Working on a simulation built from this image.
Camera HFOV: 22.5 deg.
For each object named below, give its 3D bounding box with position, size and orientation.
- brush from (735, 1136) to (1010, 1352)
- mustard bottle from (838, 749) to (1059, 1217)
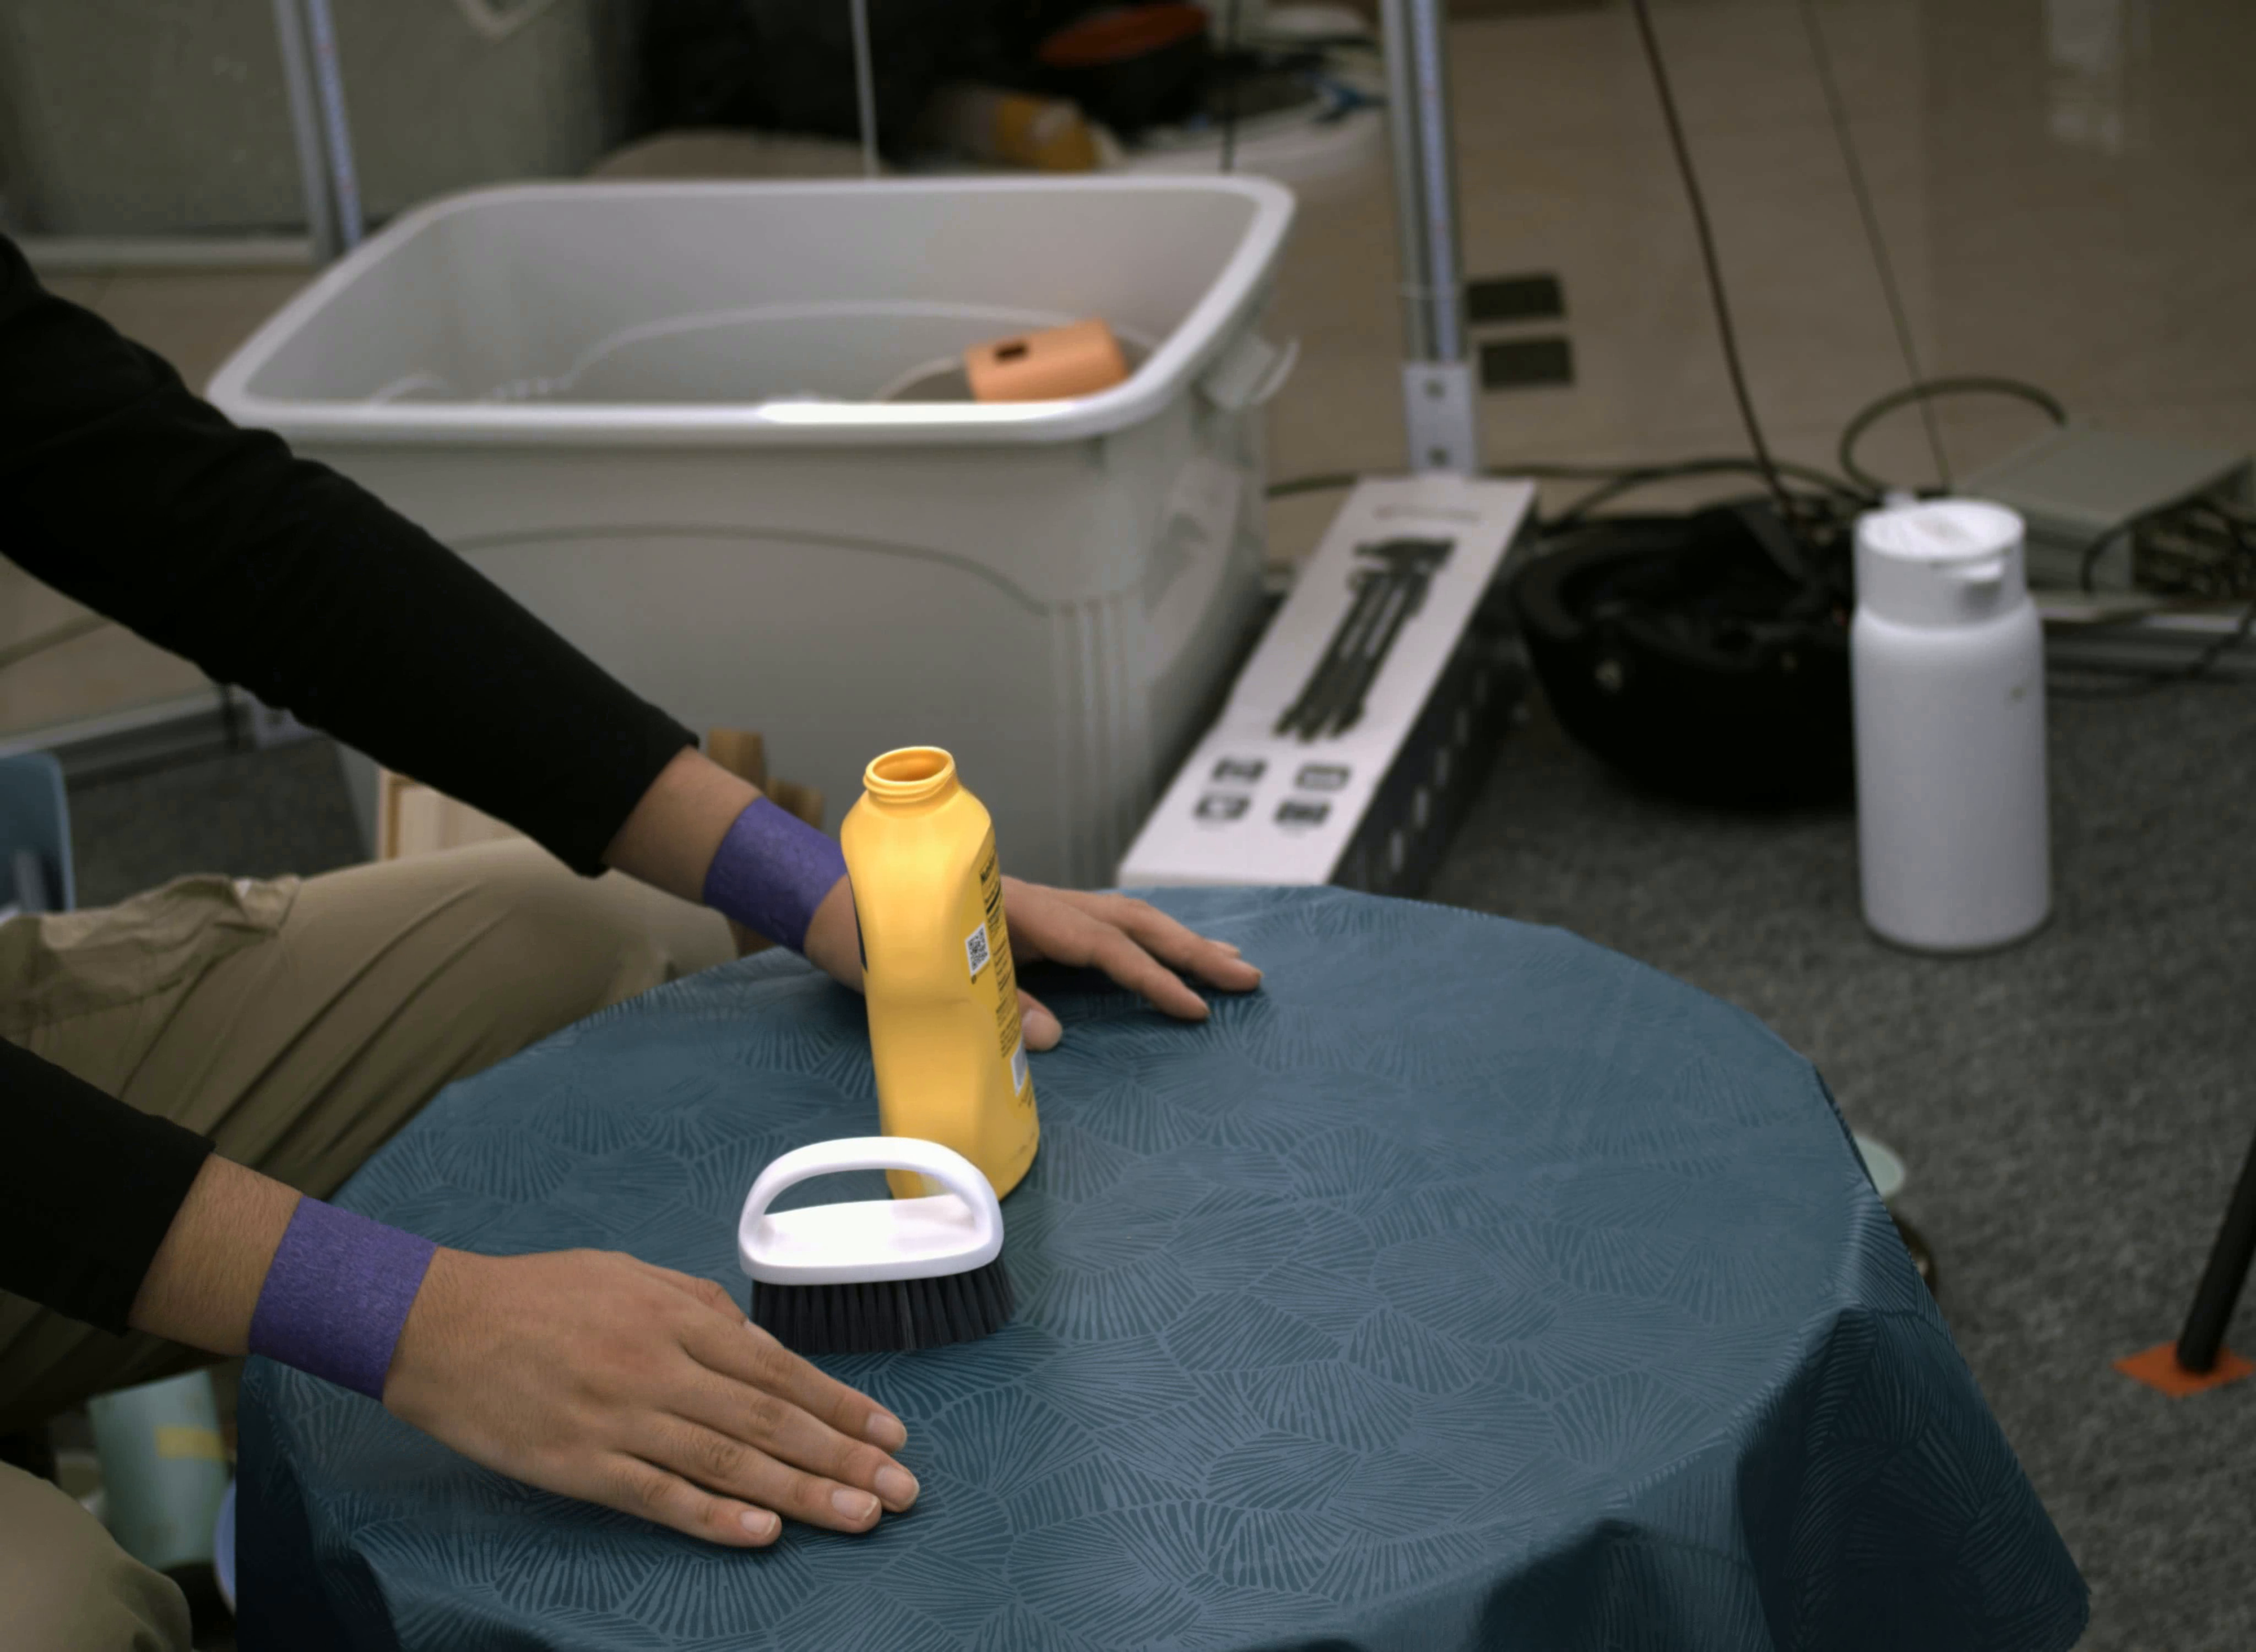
[{"bbox_3d":[-0.095,0.147,2.062,0.099,0.073,0.049,-2,25,6],"label":"brush"},{"bbox_3d":[-0.069,0.056,2.140,0.059,0.175,0.097,-8,26,7],"label":"mustard bottle"}]
